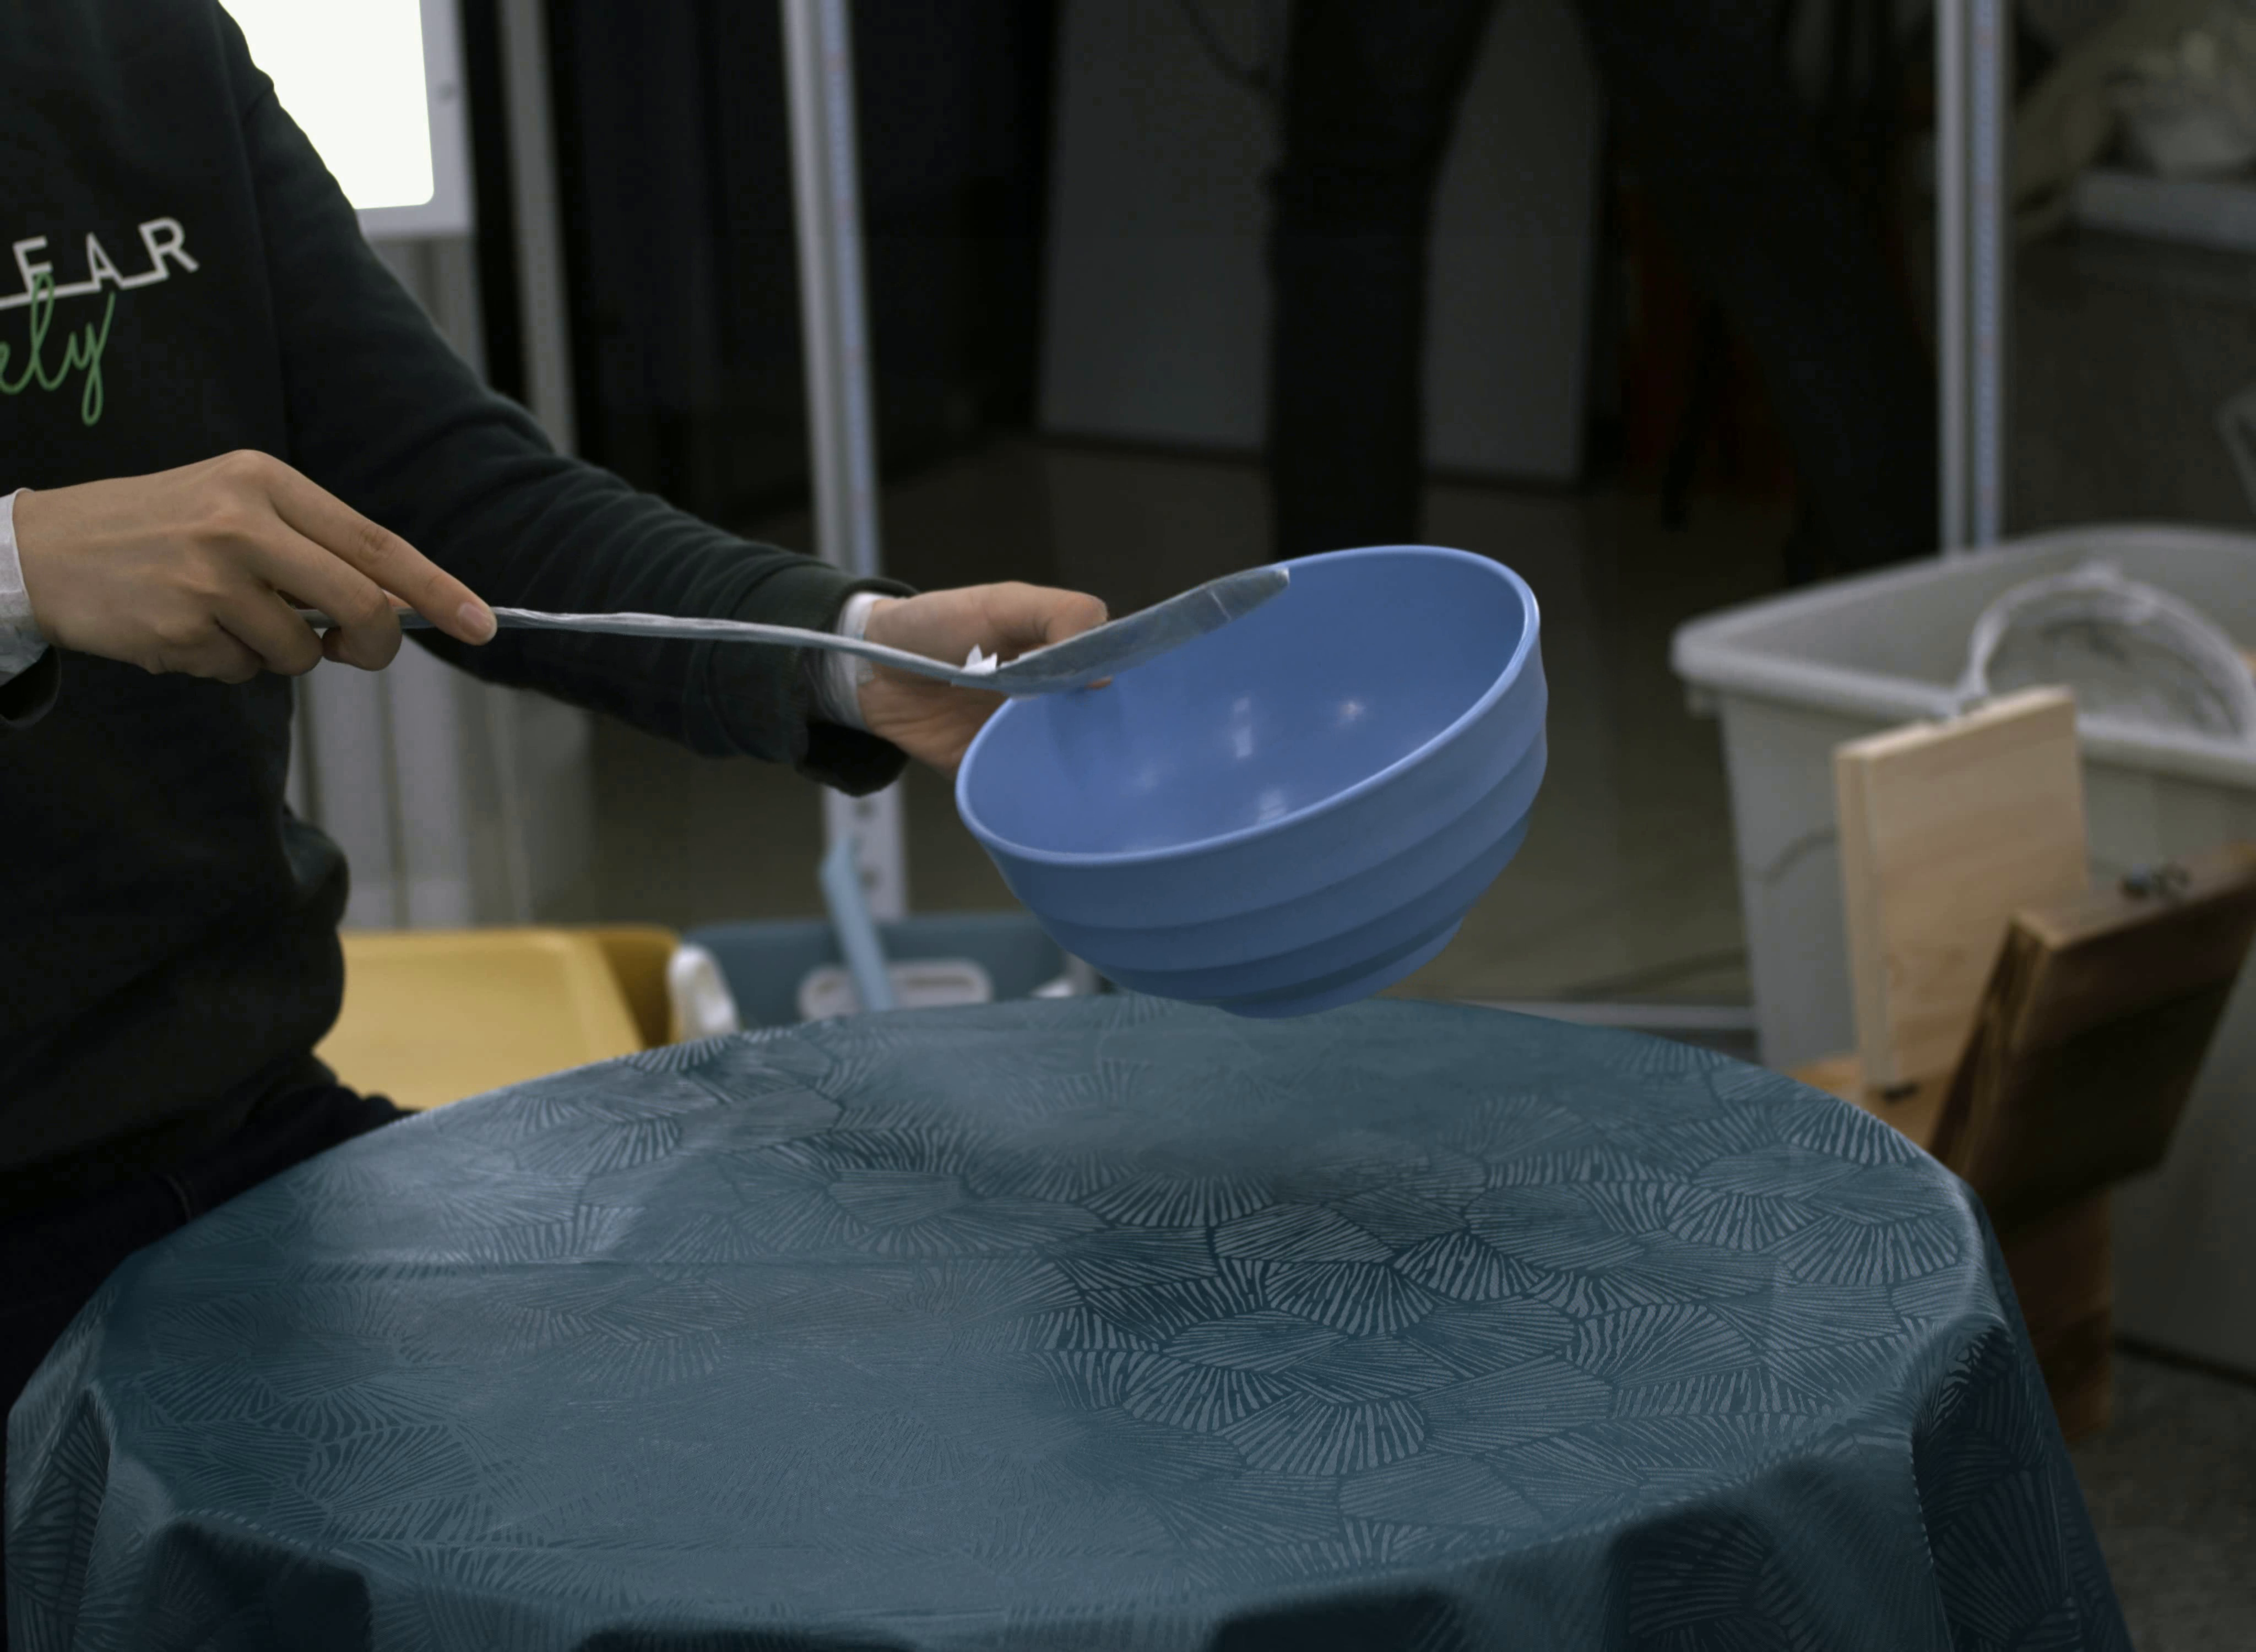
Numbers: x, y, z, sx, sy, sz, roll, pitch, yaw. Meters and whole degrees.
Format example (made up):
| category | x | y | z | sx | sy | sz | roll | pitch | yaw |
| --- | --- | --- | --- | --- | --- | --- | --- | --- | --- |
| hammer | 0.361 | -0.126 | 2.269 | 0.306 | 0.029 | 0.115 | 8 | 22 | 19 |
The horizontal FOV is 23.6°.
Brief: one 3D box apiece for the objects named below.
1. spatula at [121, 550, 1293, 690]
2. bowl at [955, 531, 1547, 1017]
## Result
| category | x | y | z | sx | sy | sz | roll | pitch | yaw |
| --- | --- | --- | --- | --- | --- | --- | --- | --- | --- |
| spatula | -0.129 | -0.066 | 1.666 | 0.360 | 0.045 | 0.099 | 3 | -4 | -1 |
| bowl | 0.051 | -0.004 | 1.719 | 0.195 | 0.095 | 0.197 | -18 | 25 | 8 |
